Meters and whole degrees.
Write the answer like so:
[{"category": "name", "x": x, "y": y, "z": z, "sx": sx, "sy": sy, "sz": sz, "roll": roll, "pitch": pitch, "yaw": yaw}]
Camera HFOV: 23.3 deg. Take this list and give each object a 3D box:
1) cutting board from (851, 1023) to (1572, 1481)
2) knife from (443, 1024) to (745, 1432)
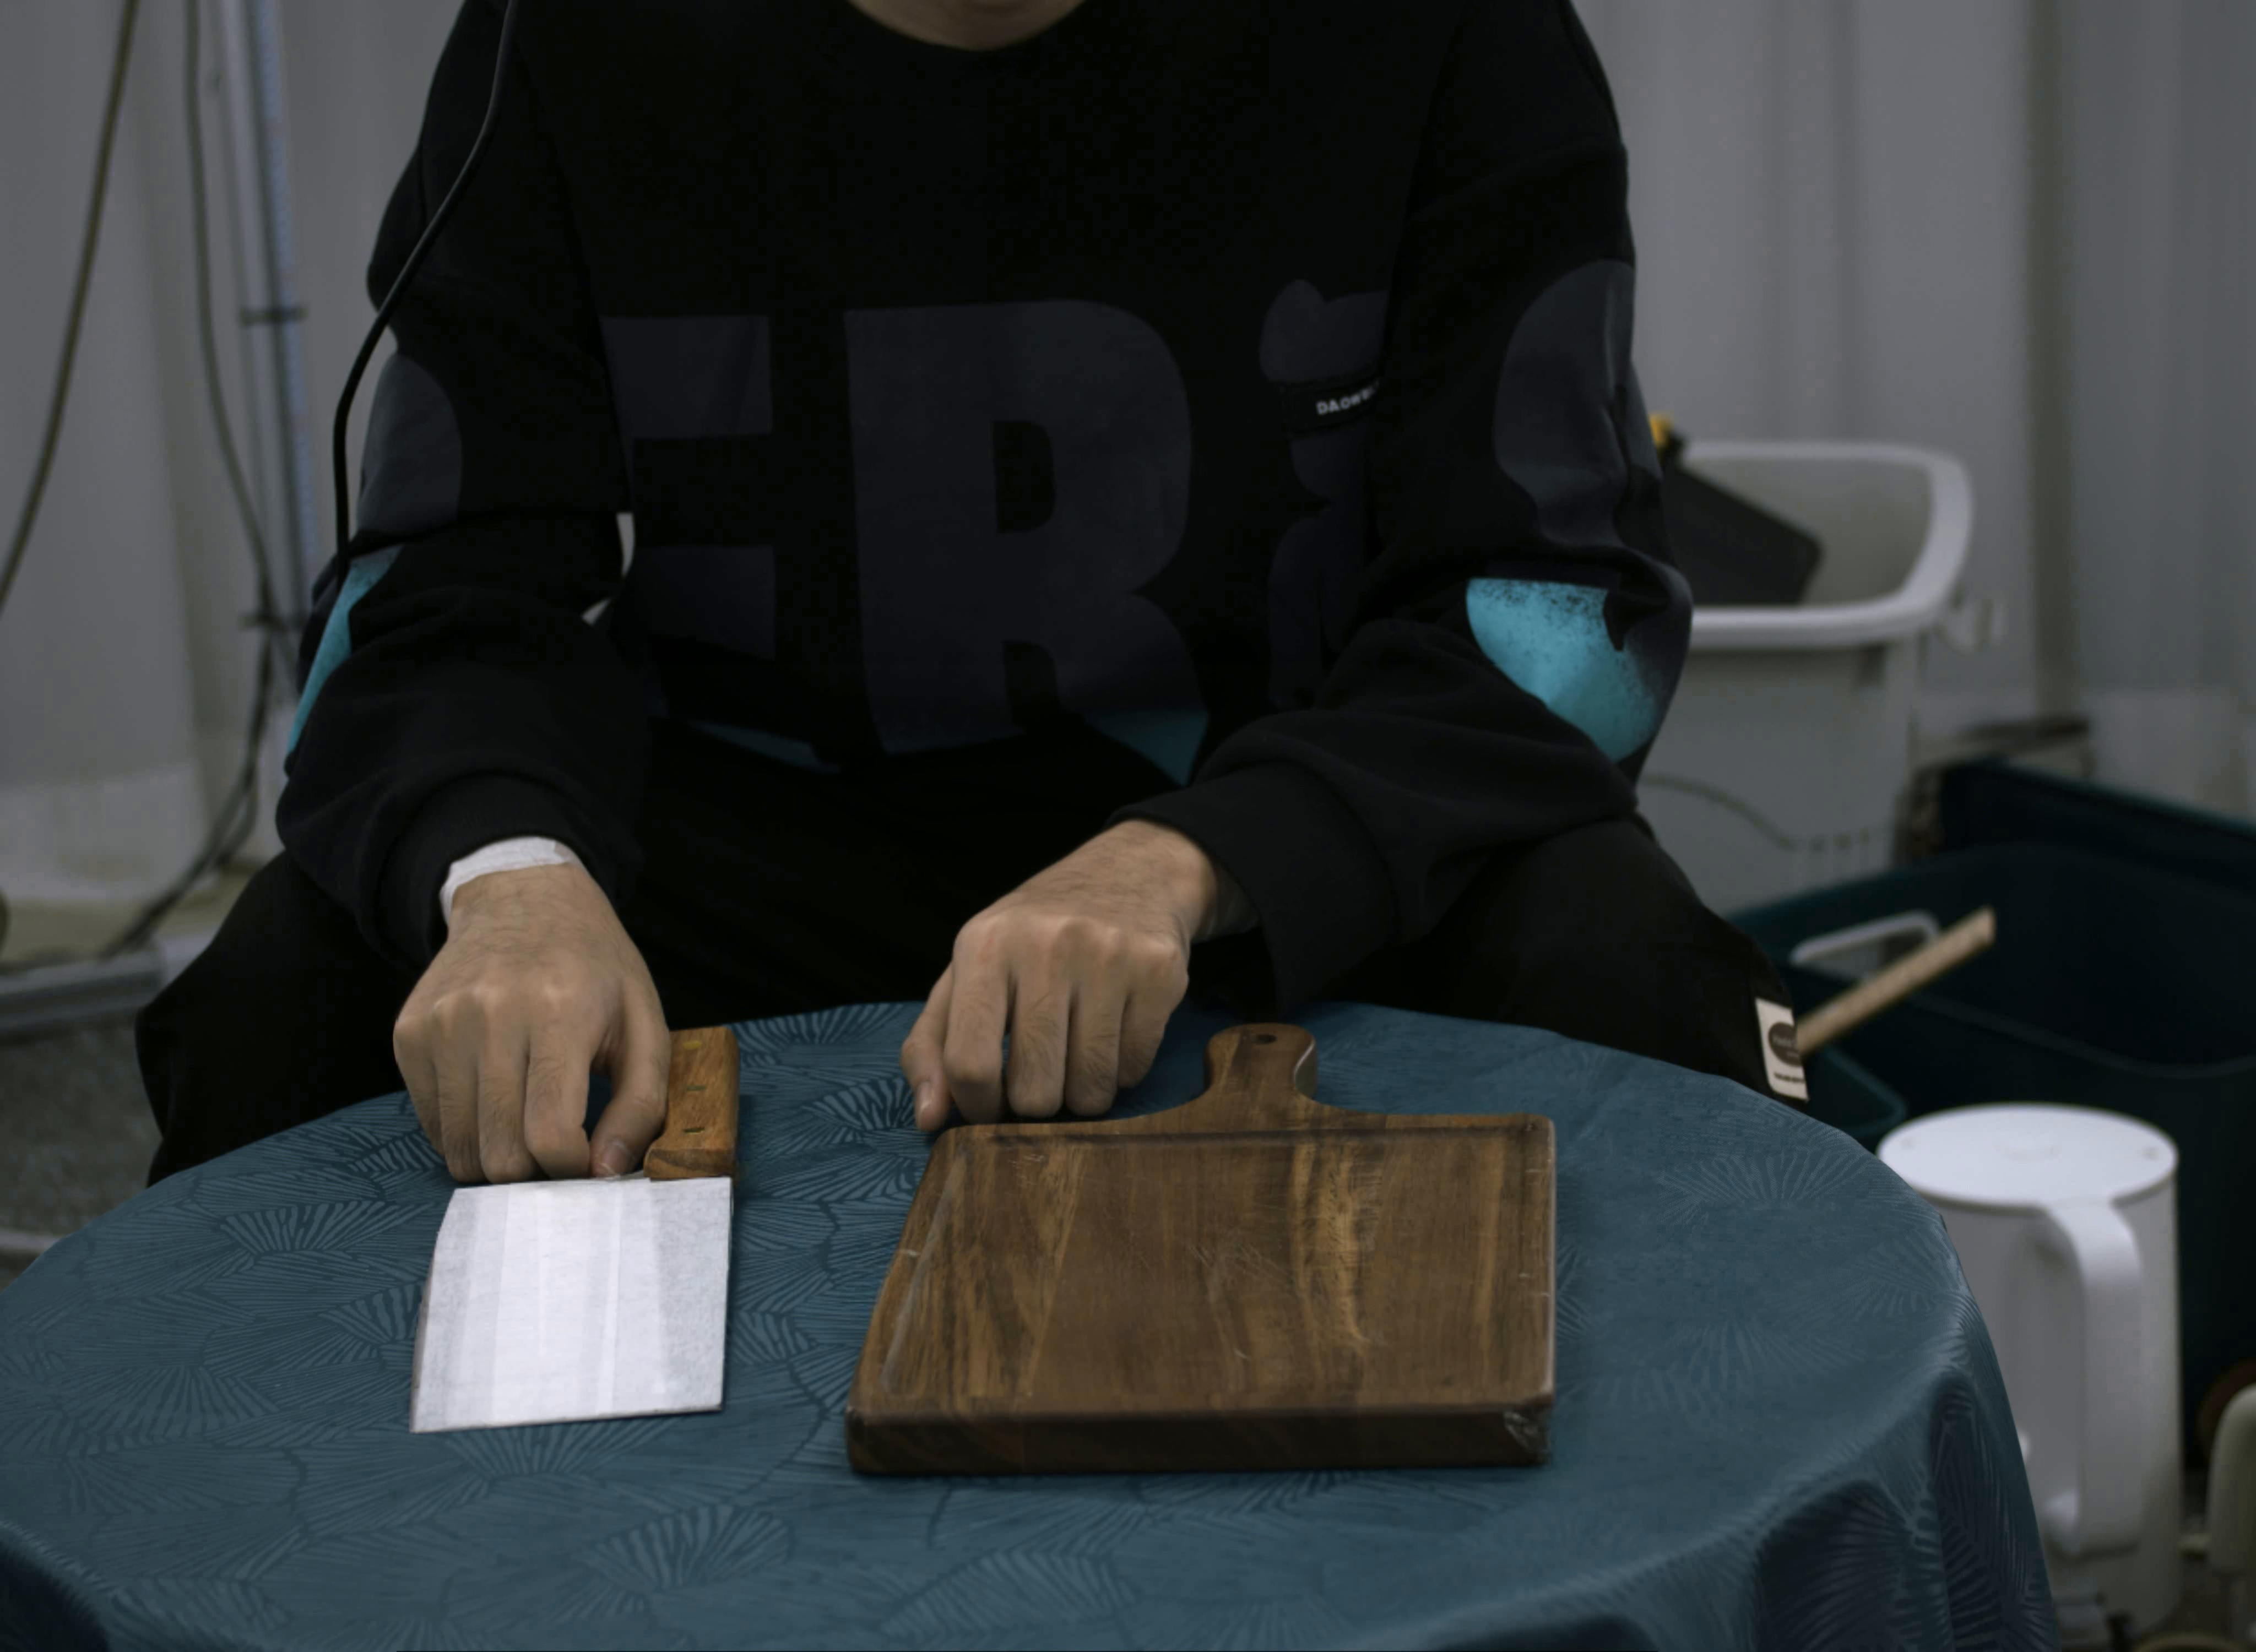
[{"category": "cutting board", "x": 0.032, "y": 0.121, "z": 1.646, "sx": 0.200, "sy": 0.023, "sz": 0.354, "roll": -2, "pitch": 15, "yaw": 5}, {"category": "knife", "x": -0.165, "y": 0.123, "z": 1.689, "sx": 0.092, "sy": 0.021, "sz": 0.308, "roll": -5, "pitch": 18, "yaw": -1}]
